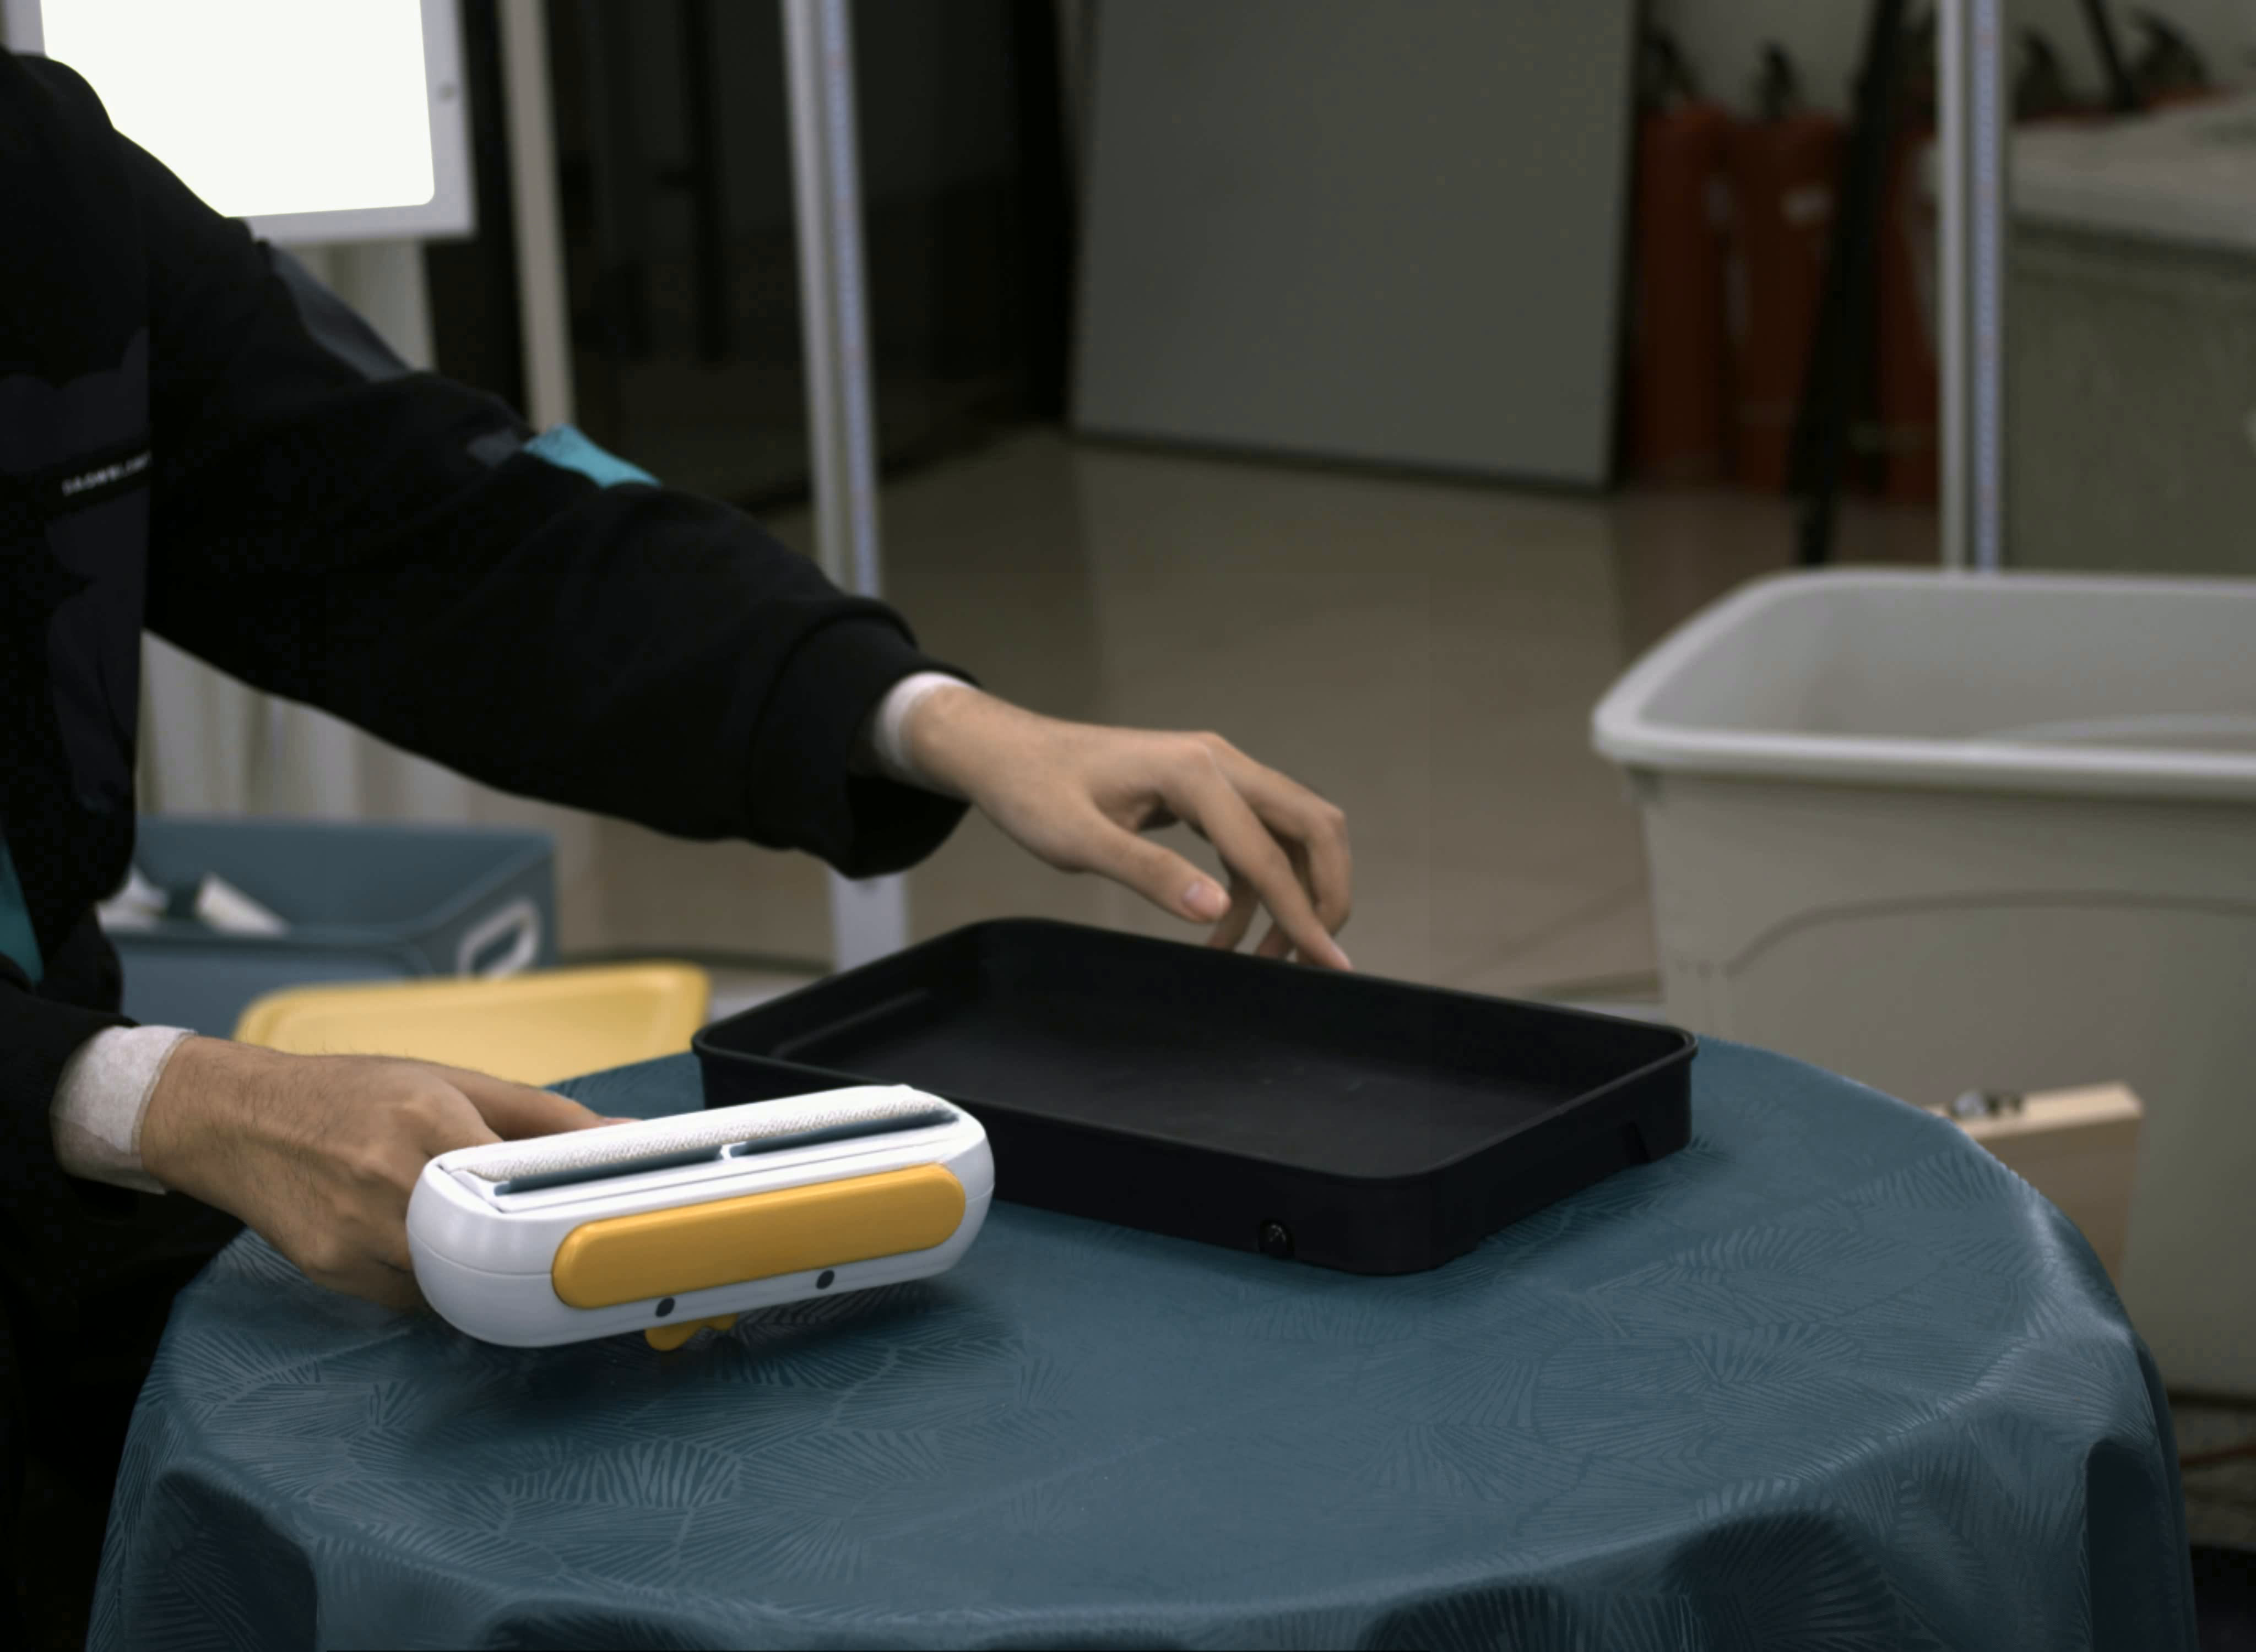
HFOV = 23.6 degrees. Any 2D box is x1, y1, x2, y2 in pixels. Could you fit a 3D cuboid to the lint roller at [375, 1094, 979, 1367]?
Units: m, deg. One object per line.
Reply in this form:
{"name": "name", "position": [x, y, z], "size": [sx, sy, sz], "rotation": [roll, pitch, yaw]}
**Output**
{"name": "lint roller", "position": [-0.164, 0.117, 1.690], "size": [0.188, 0.075, 0.194], "rotation": [-11, 15, -30]}

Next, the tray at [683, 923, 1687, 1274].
{"name": "tray", "position": [0.017, 0.088, 1.826], "size": [0.320, 0.037, 0.181], "rotation": [8, 18, 38]}
